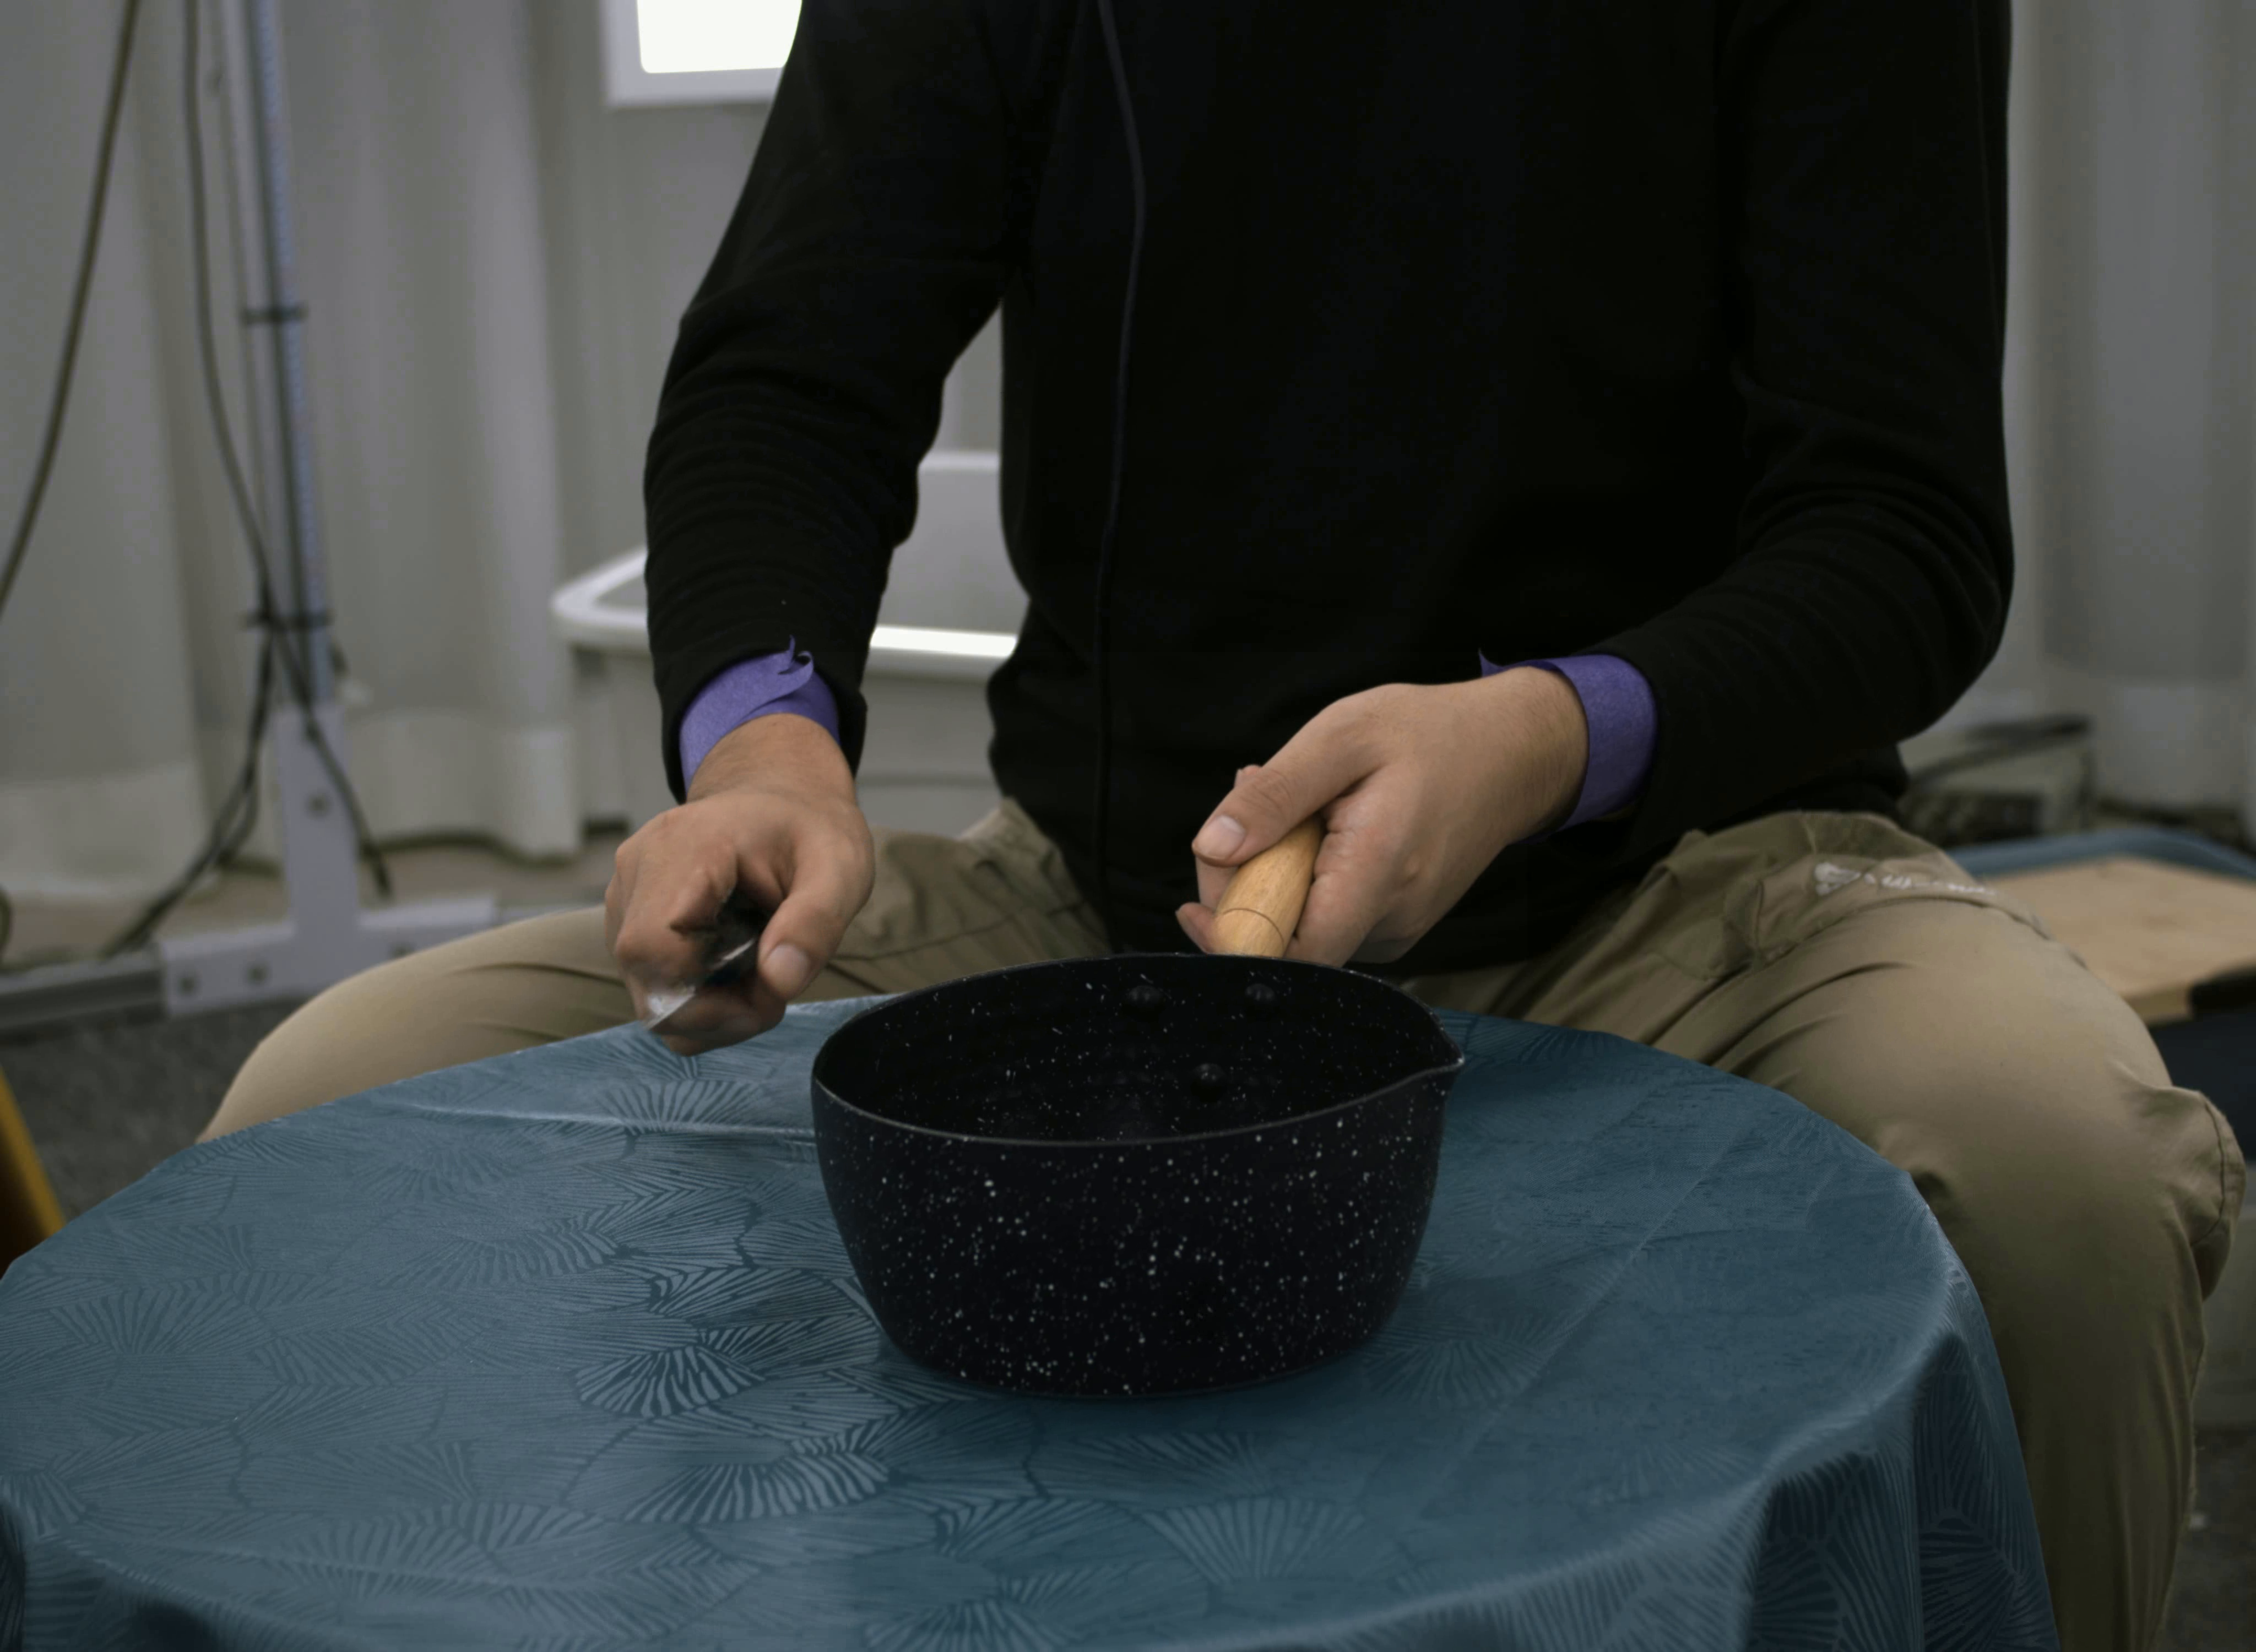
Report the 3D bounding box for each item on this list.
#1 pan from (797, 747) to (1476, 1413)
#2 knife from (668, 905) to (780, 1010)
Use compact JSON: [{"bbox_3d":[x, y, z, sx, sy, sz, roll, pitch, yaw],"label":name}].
[{"bbox_3d":[0.021,0.072,1.666,0.207,0.108,0.344,1,16,15],"label":"pan"},{"bbox_3d":[-0.126,0.043,1.682,0.024,0.016,0.238,-28,3,3],"label":"knife"}]
